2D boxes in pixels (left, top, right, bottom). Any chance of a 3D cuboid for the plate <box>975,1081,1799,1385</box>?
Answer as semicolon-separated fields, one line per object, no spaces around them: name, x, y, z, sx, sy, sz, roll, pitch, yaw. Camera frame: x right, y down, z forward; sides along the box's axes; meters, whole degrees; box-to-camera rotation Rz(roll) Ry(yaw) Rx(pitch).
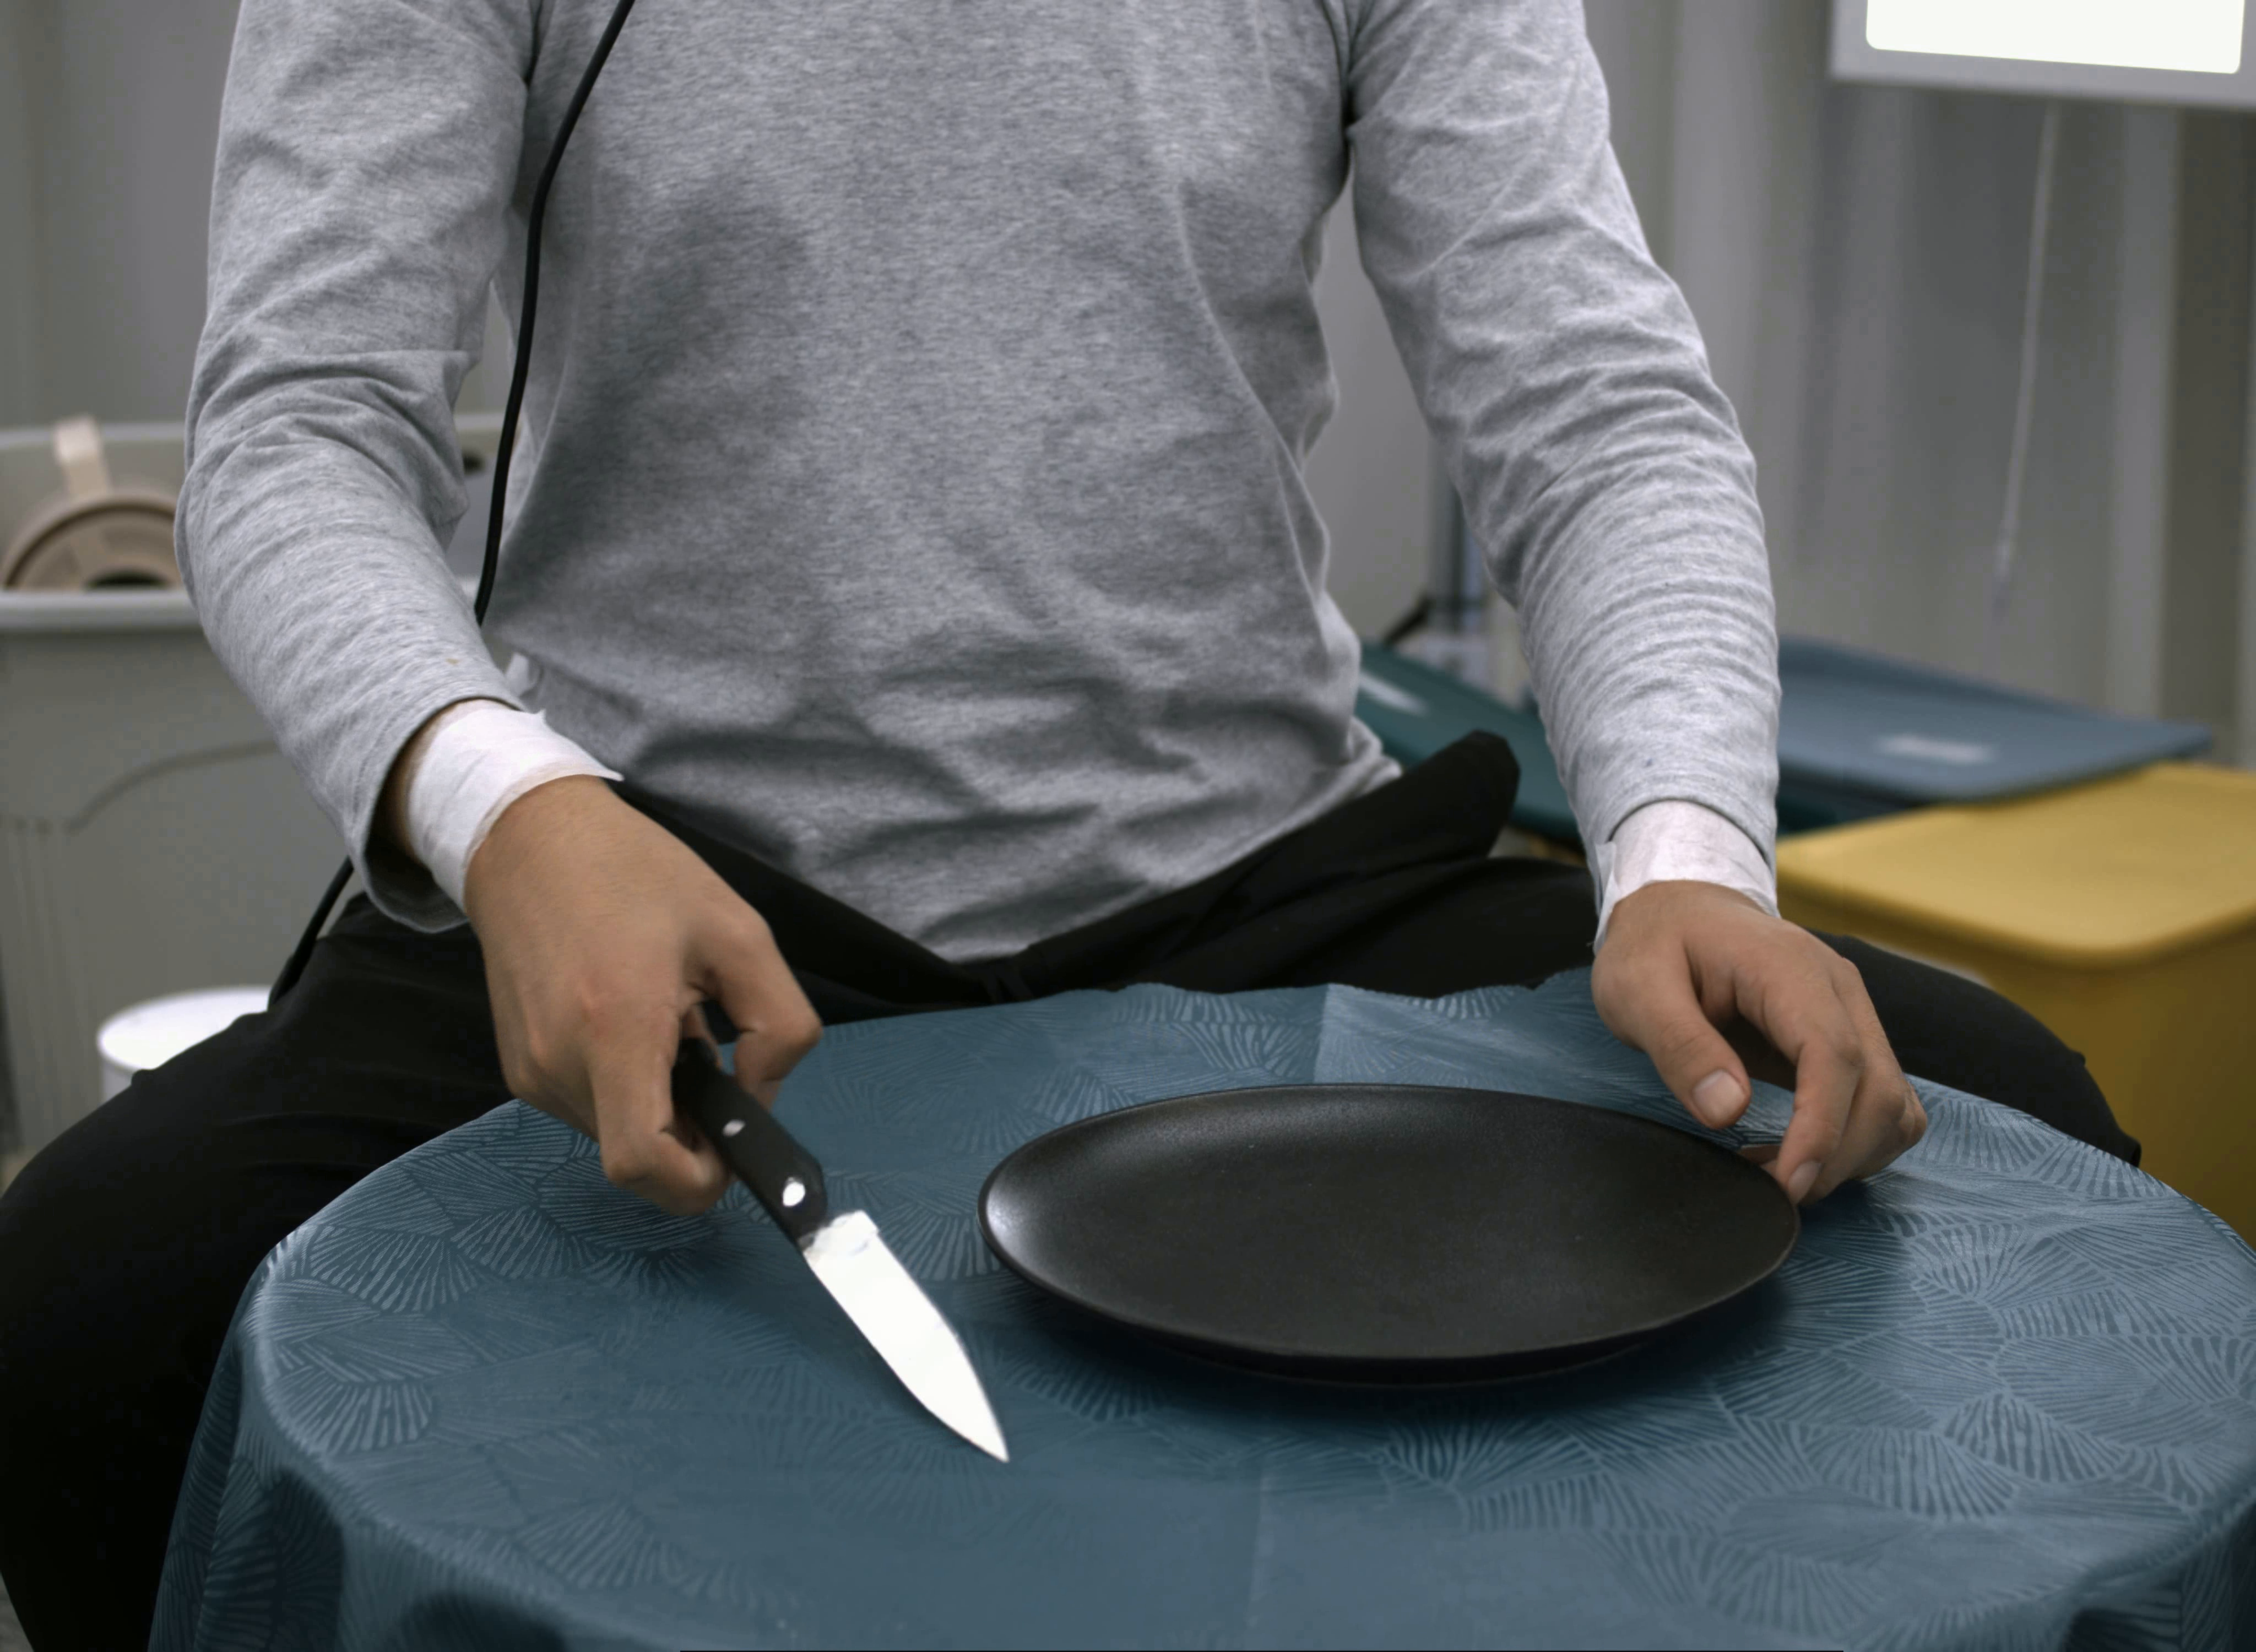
plate;0.075;0.122;1.551;0.243;0.023;0.243;1;15;0

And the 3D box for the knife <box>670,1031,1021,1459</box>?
knife;-0.083;0.119;1.504;0.024;0.016;0.235;-27;36;-13
